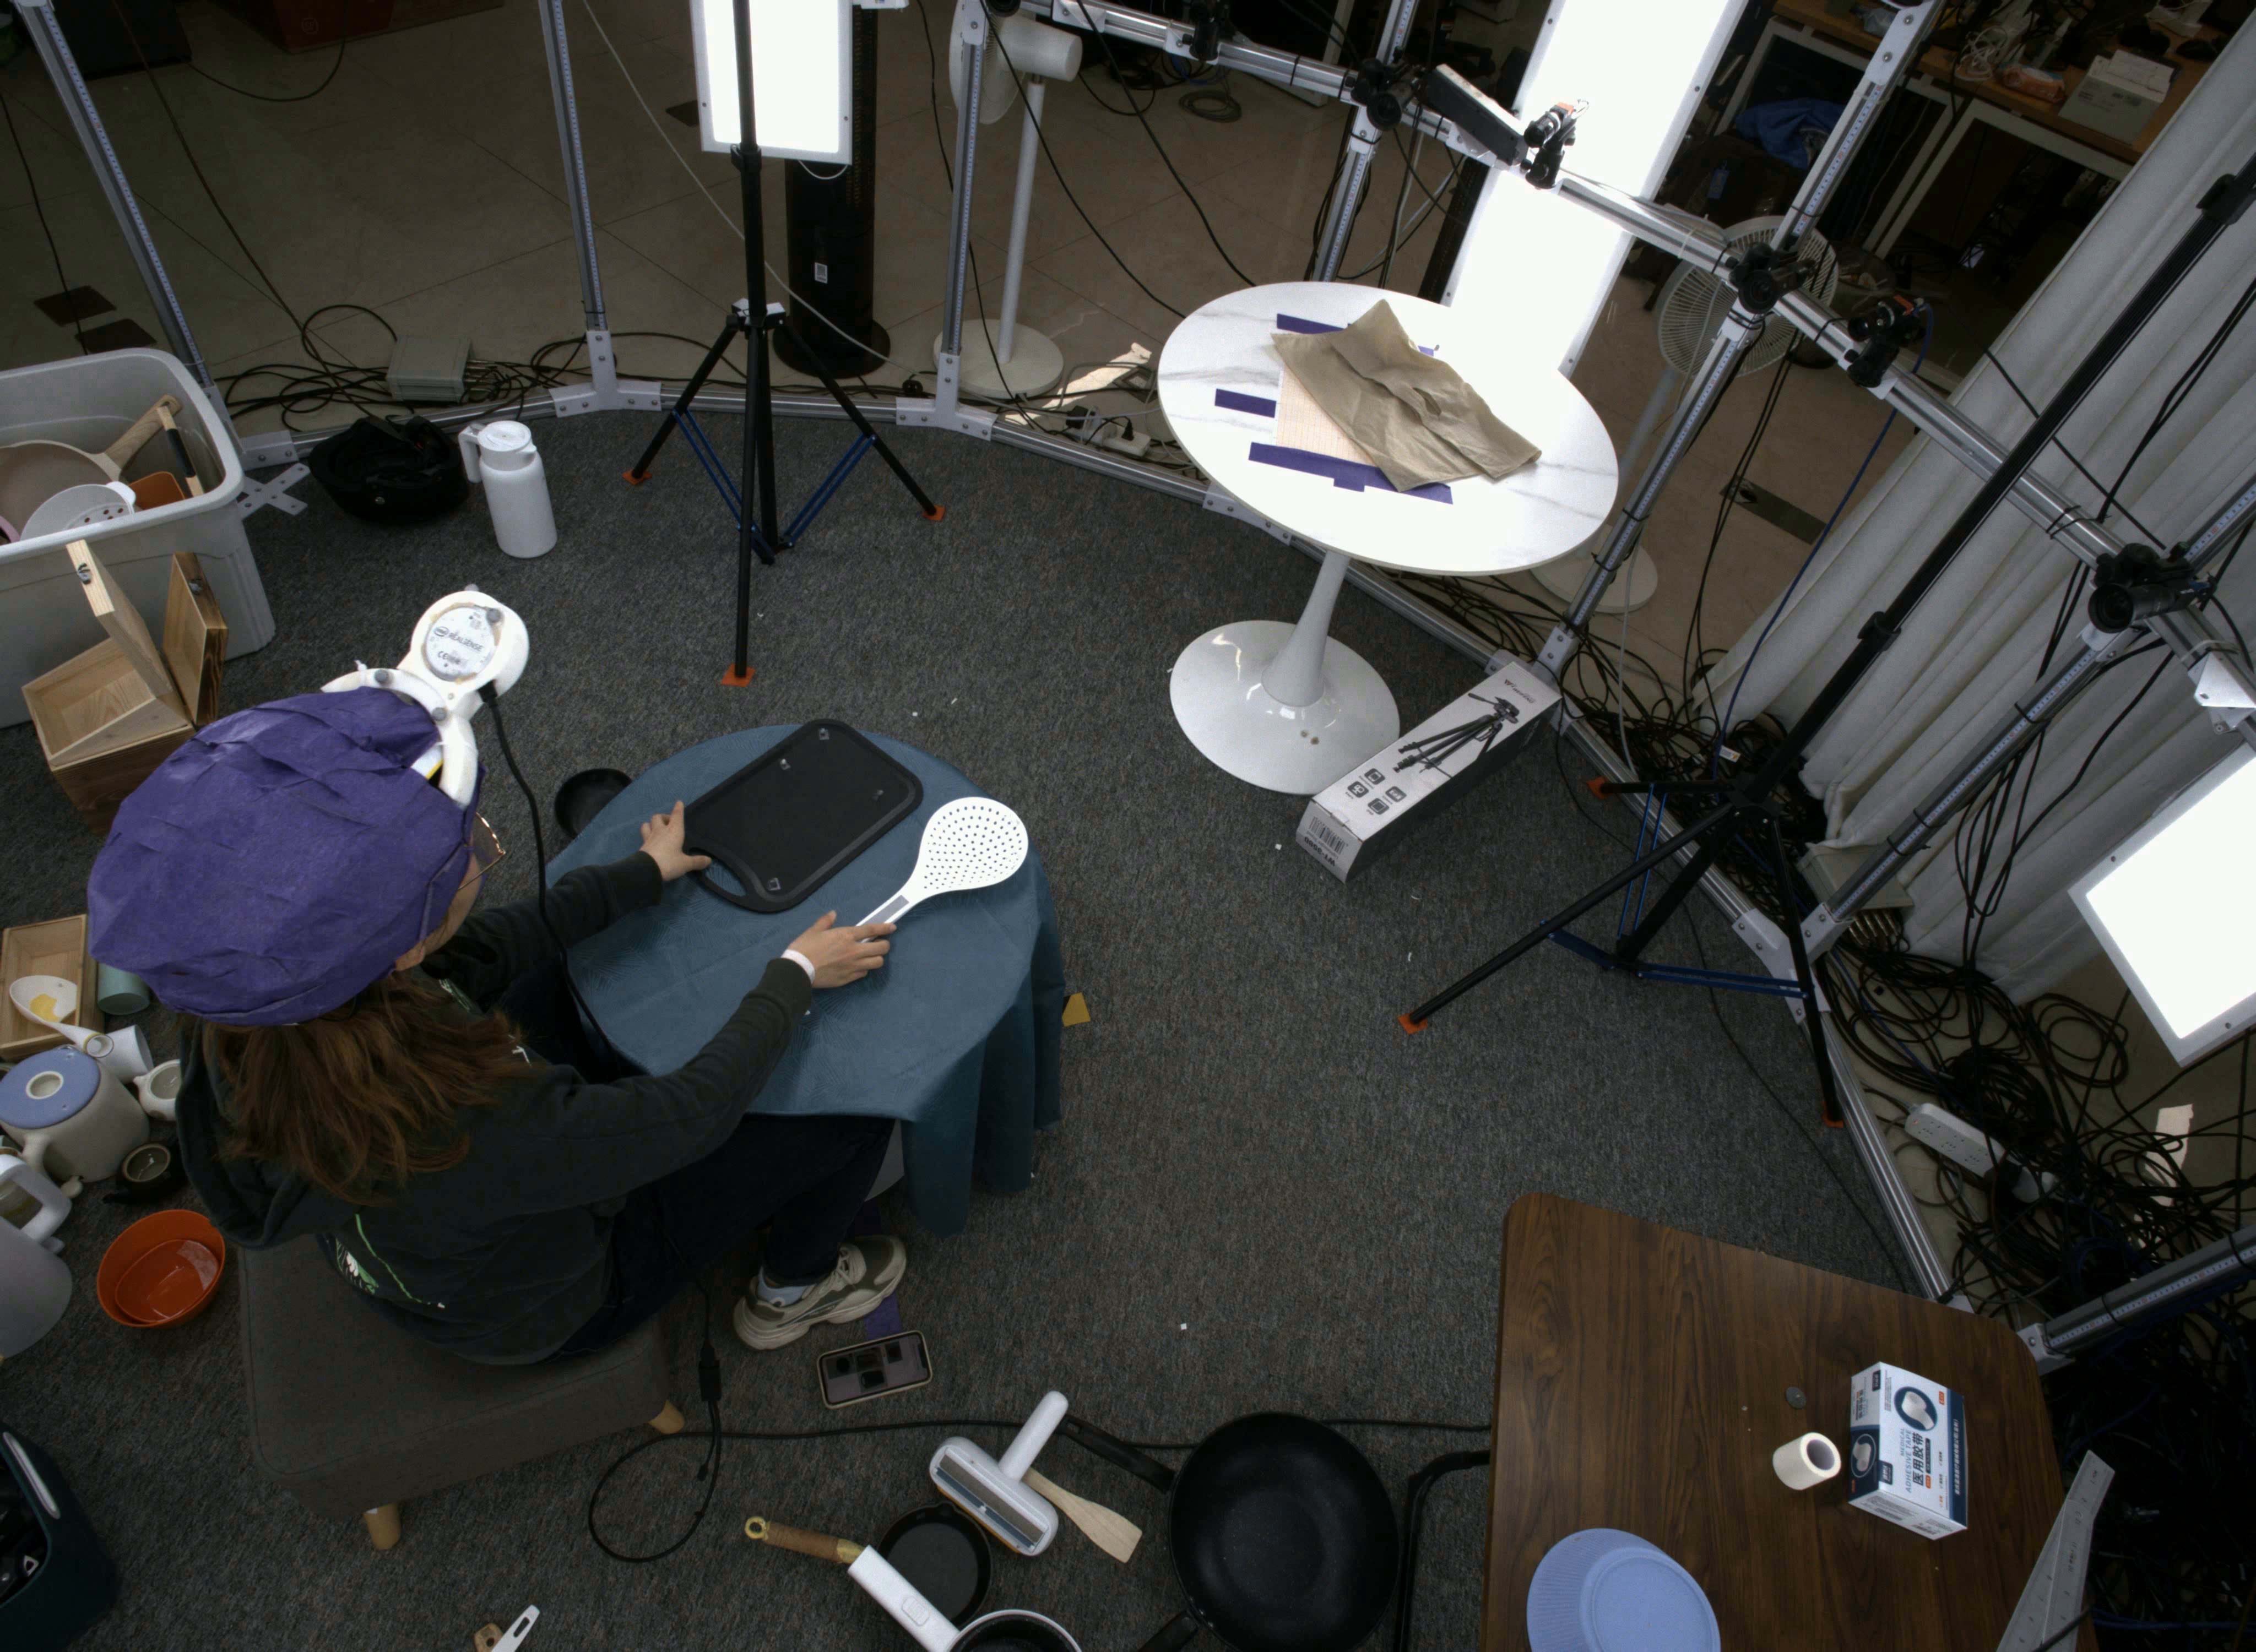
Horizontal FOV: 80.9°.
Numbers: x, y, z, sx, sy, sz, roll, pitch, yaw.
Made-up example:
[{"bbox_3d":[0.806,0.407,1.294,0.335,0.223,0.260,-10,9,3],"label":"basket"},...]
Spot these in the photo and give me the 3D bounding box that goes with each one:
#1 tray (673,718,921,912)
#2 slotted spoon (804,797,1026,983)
[{"bbox_3d":[-0.443,-0.019,1.731,0.207,0.010,0.325,37,53,13],"label":"tray"},{"bbox_3d":[-0.275,0.083,1.676,0.133,0.046,0.350,41,56,15],"label":"slotted spoon"}]
